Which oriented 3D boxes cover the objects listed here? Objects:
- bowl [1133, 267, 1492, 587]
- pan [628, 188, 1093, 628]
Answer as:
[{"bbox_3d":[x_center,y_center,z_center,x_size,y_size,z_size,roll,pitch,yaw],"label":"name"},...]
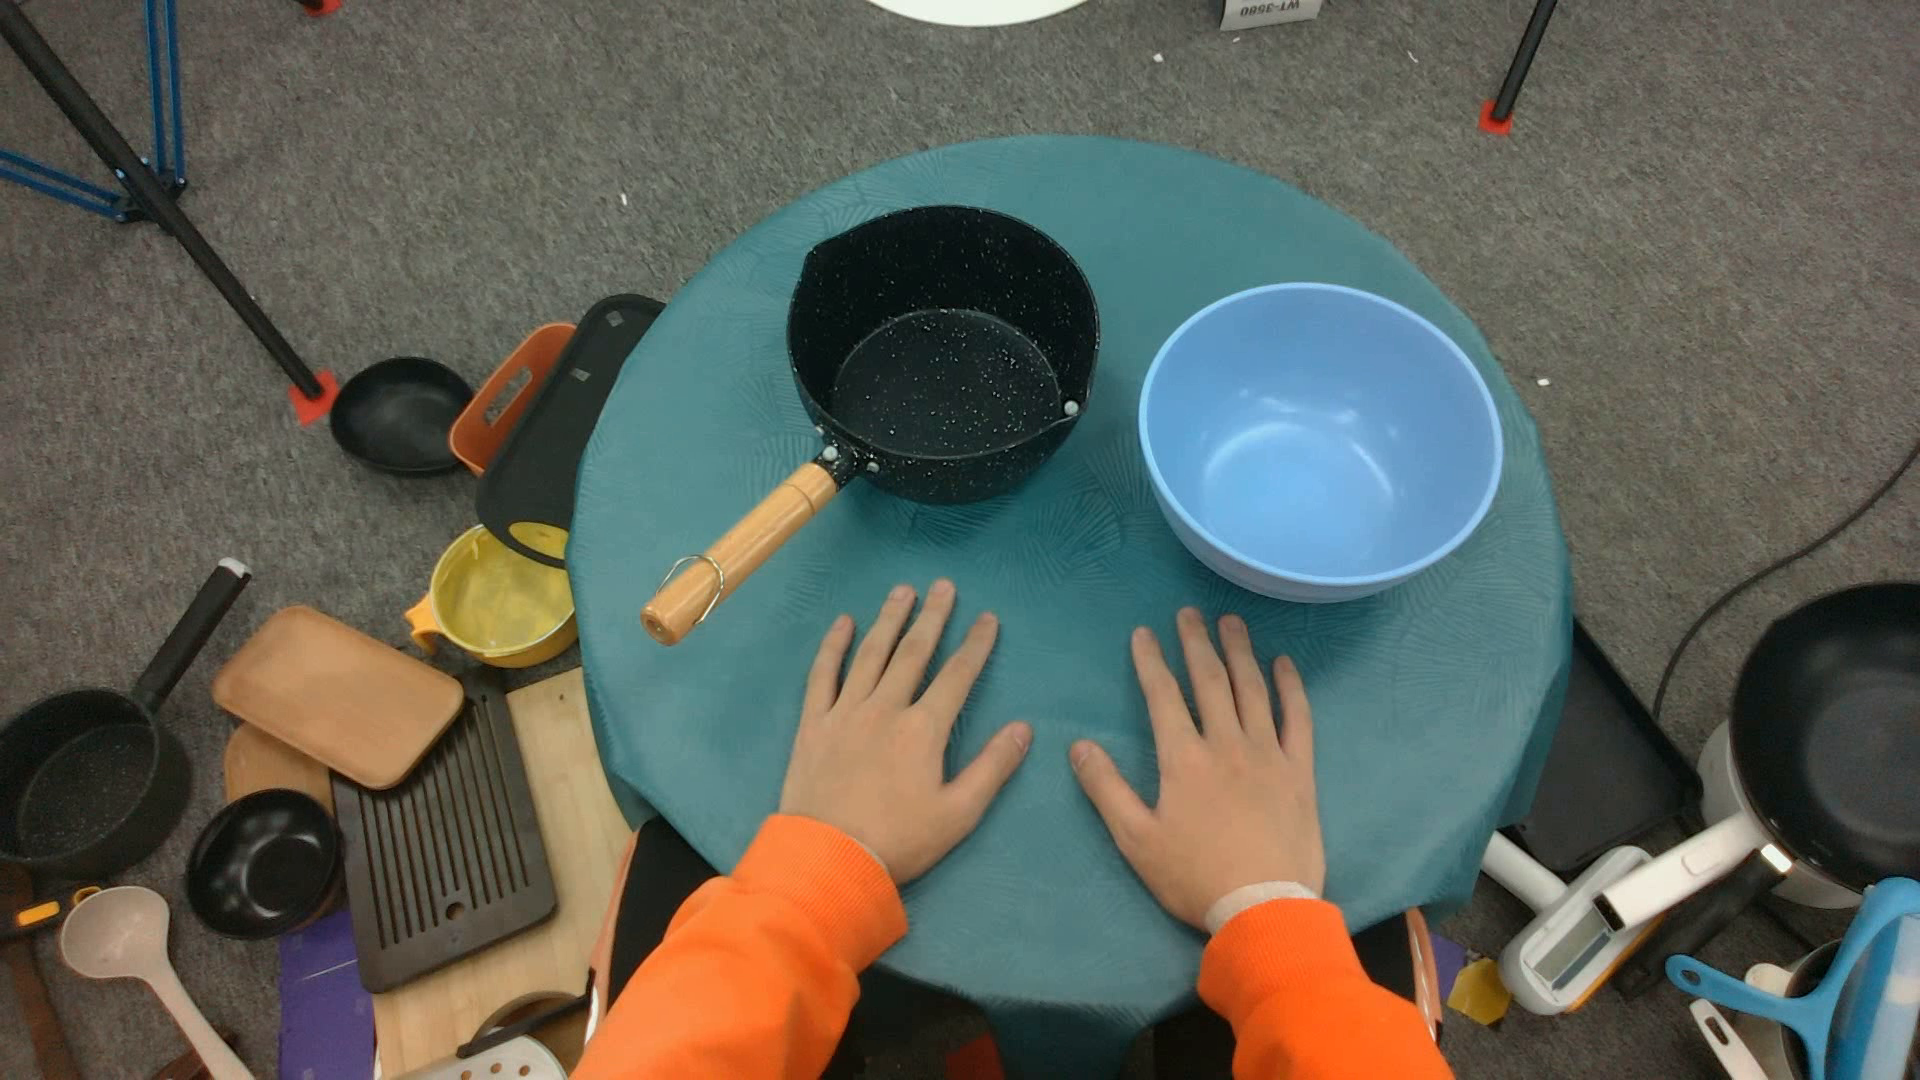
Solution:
[{"bbox_3d":[0.193,-0.051,0.796,0.196,0.095,0.197,0,61,0],"label":"bowl"},{"bbox_3d":[-0.060,-0.061,0.796,0.207,0.108,0.344,31,65,14],"label":"pan"}]
